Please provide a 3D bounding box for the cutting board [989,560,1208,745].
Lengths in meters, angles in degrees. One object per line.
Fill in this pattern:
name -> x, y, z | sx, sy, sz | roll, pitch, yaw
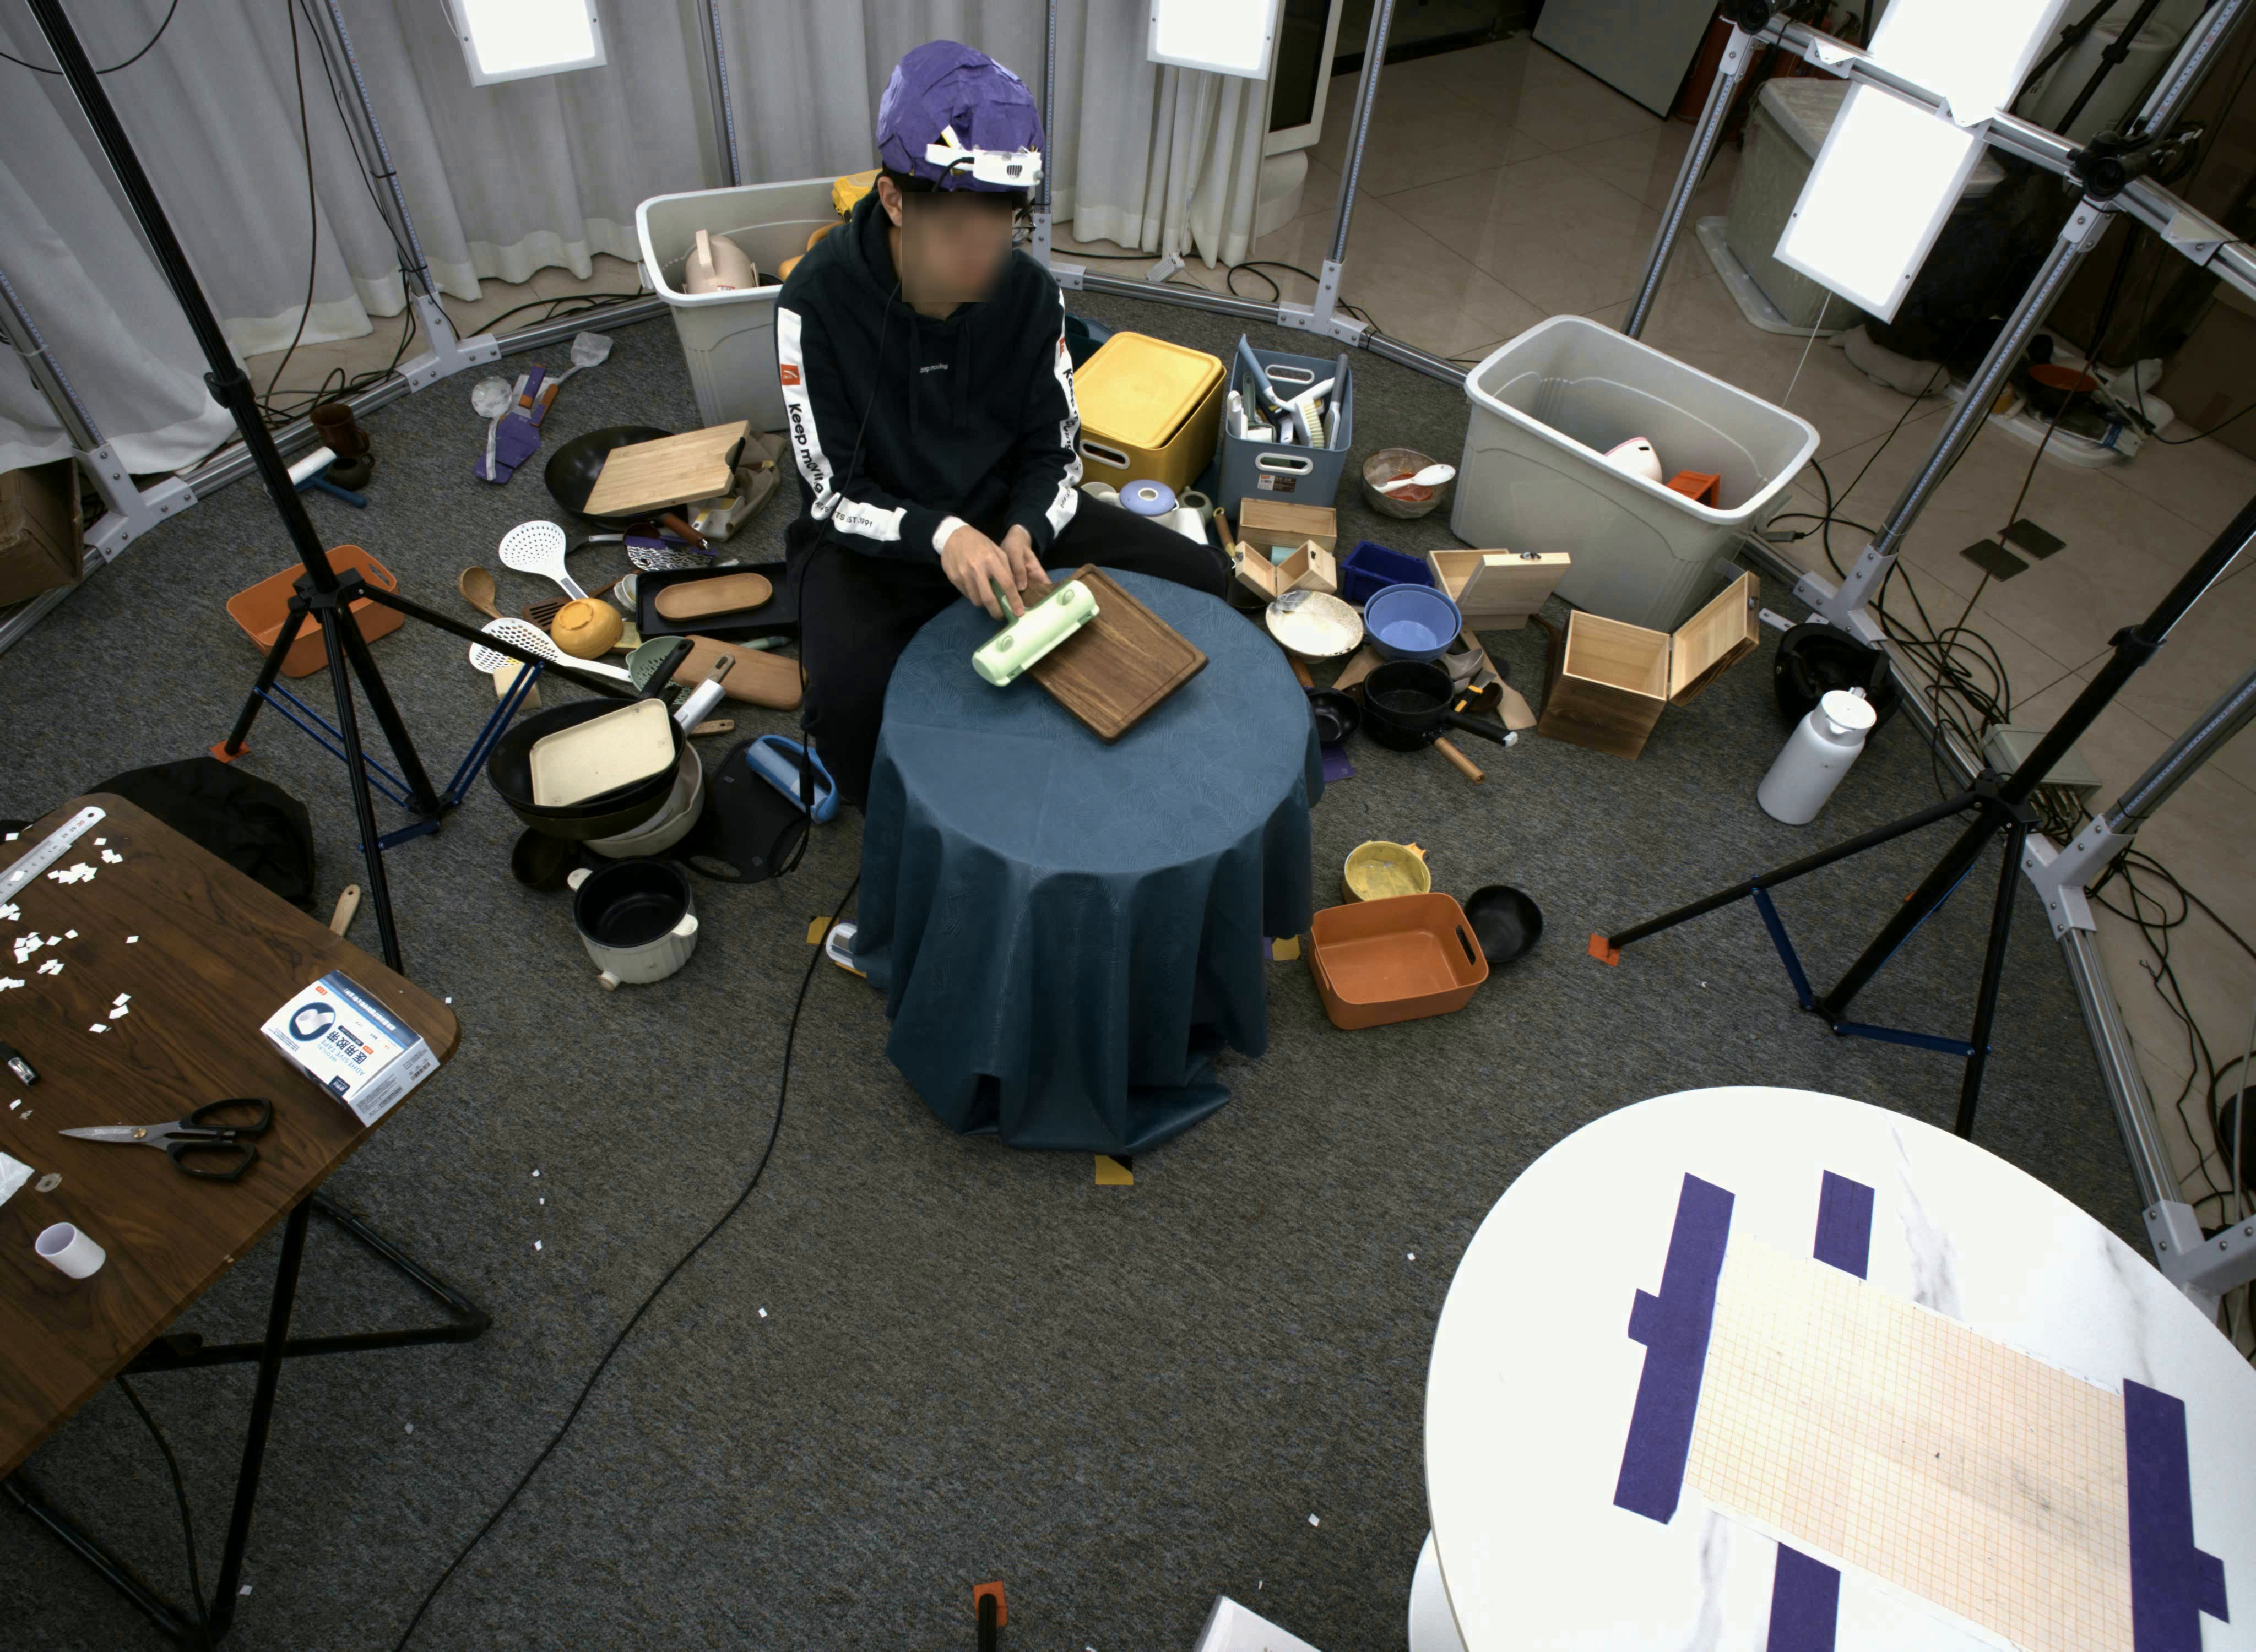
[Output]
cutting board -> -0.075, -0.281, 1.855 | 0.202, 0.023, 0.357 | -40, 65, -18

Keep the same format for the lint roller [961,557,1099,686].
lint roller -> -0.166, -0.318, 1.809 | 0.200, 0.081, 0.183 | -40, 88, -21
